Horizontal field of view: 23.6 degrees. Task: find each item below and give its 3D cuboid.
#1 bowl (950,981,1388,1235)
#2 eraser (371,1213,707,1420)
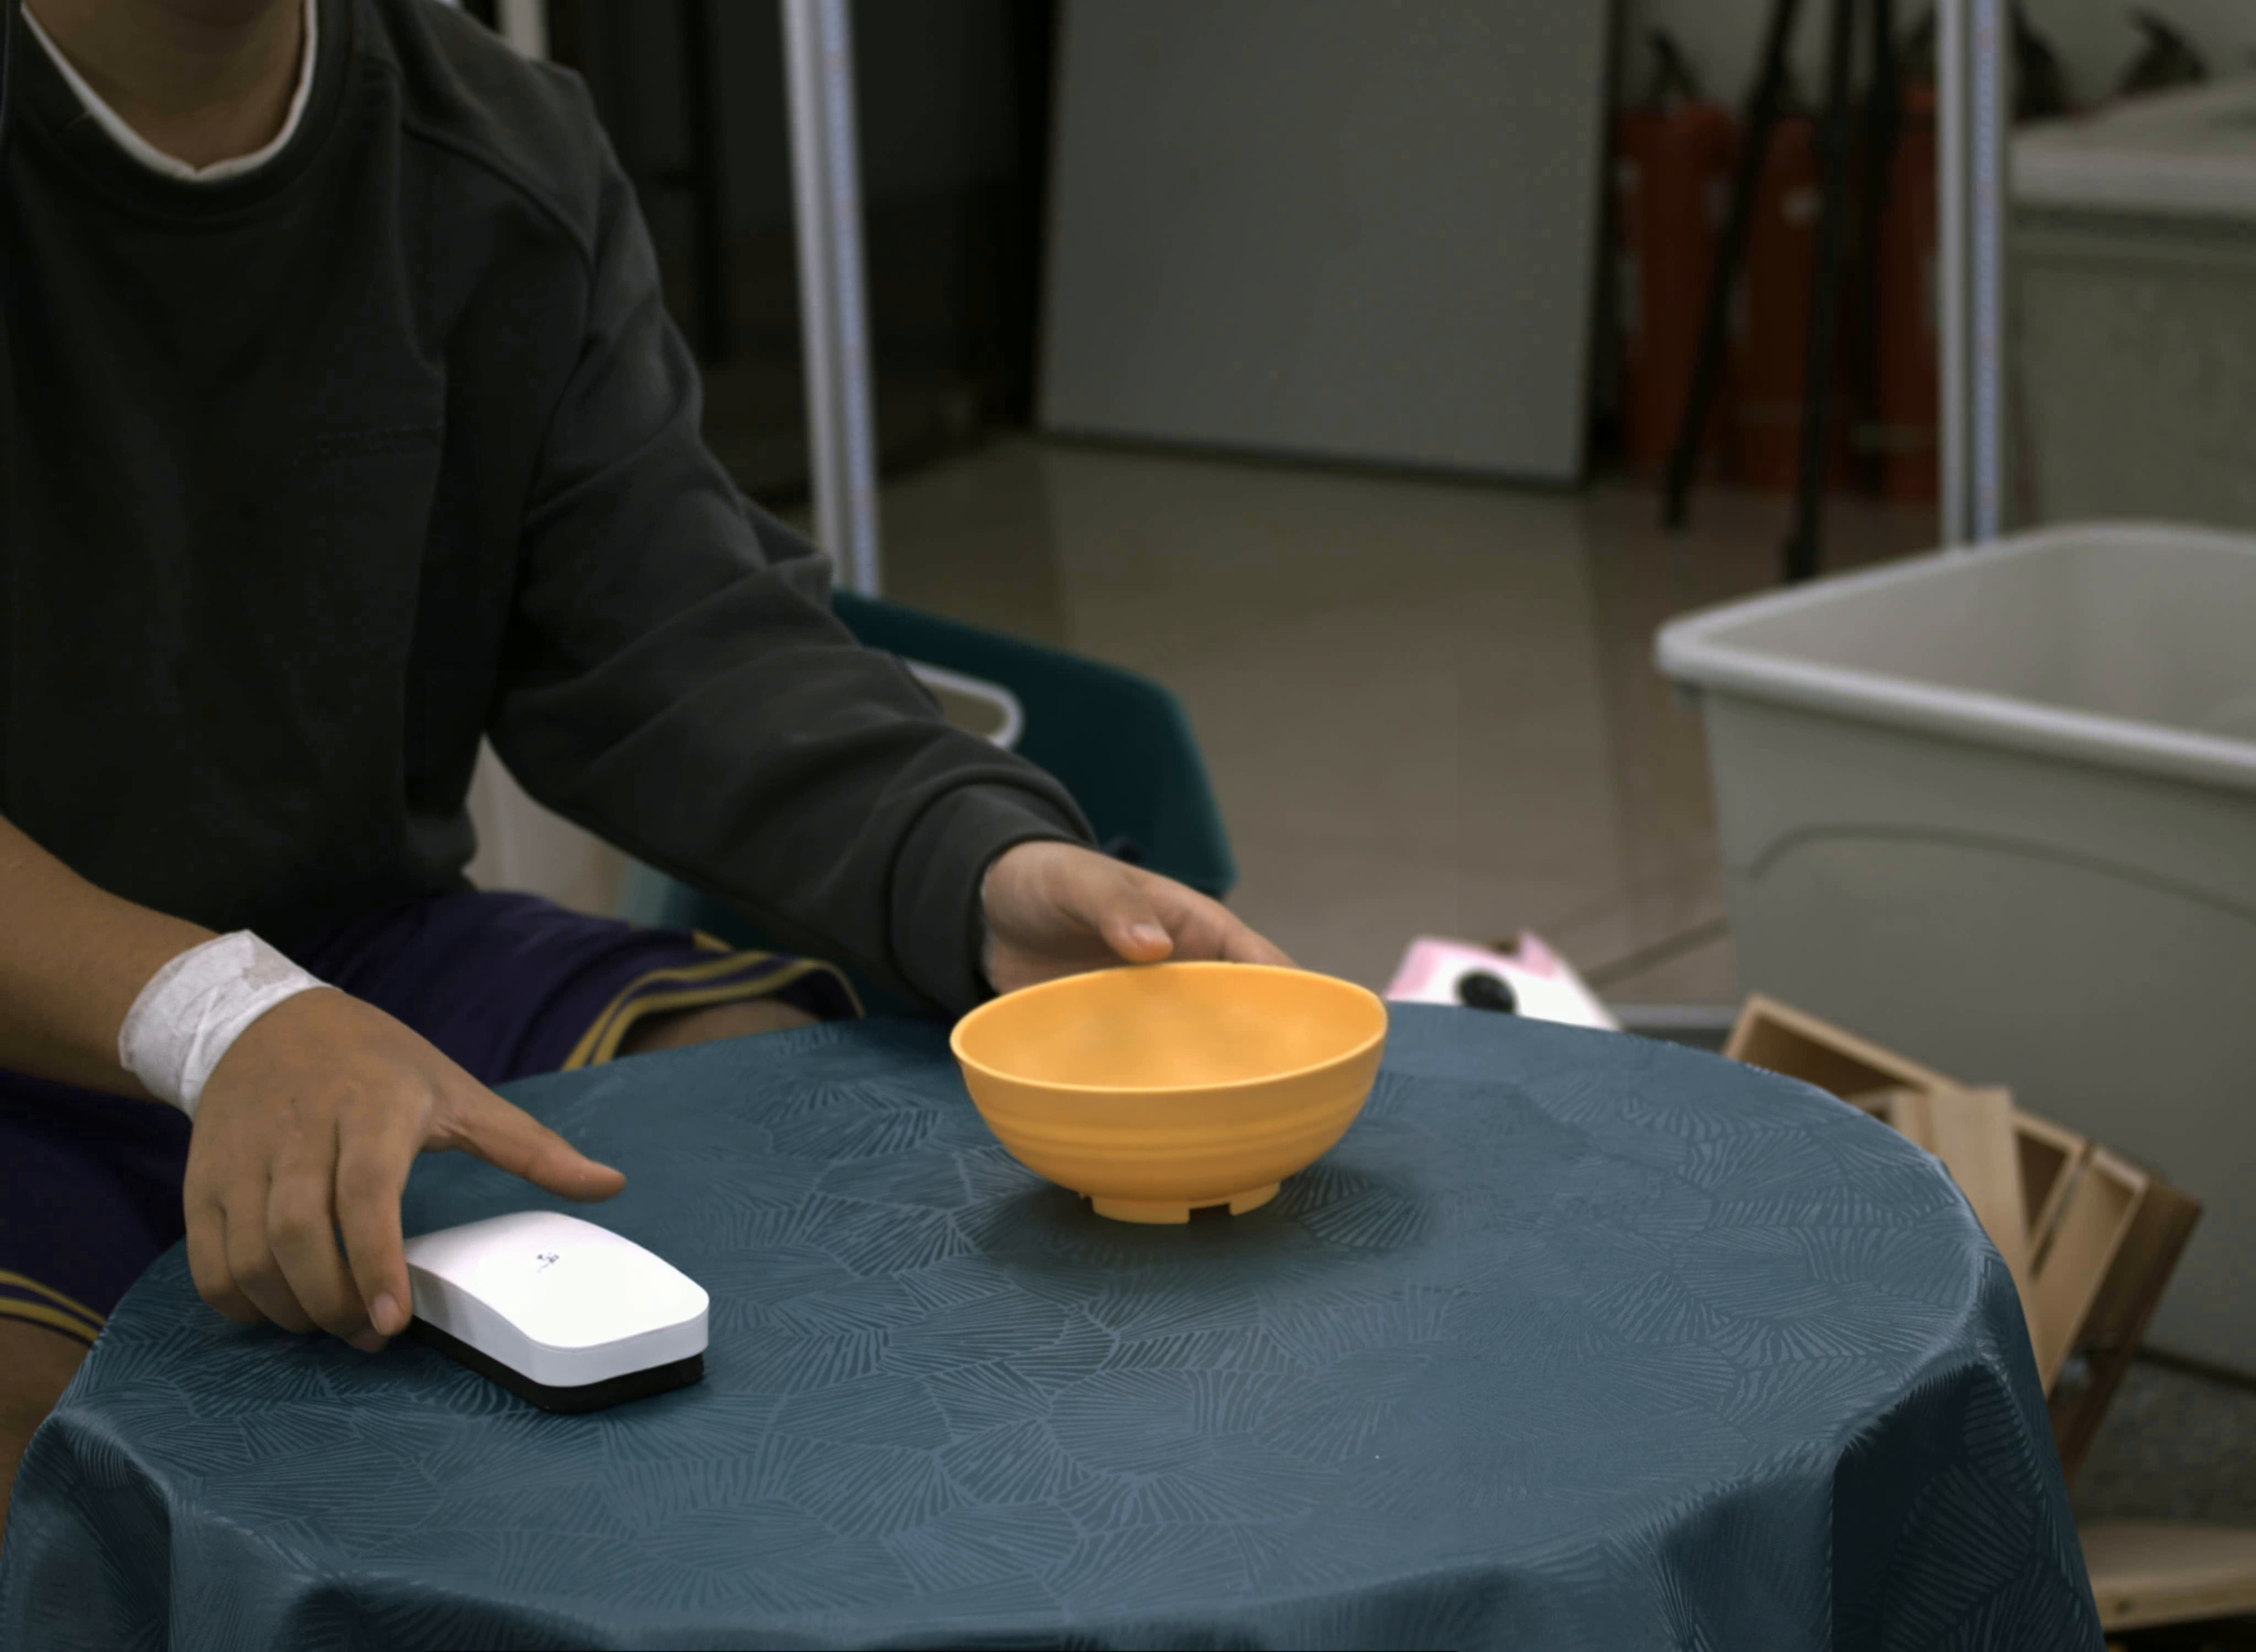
[{"bbox_3d":[0.015,0.095,1.756,0.143,0.061,0.145,-5,11,0],"label":"bowl"},{"bbox_3d":[-0.179,0.146,1.653,0.062,0.035,0.133,-11,16,-30],"label":"eraser"}]
